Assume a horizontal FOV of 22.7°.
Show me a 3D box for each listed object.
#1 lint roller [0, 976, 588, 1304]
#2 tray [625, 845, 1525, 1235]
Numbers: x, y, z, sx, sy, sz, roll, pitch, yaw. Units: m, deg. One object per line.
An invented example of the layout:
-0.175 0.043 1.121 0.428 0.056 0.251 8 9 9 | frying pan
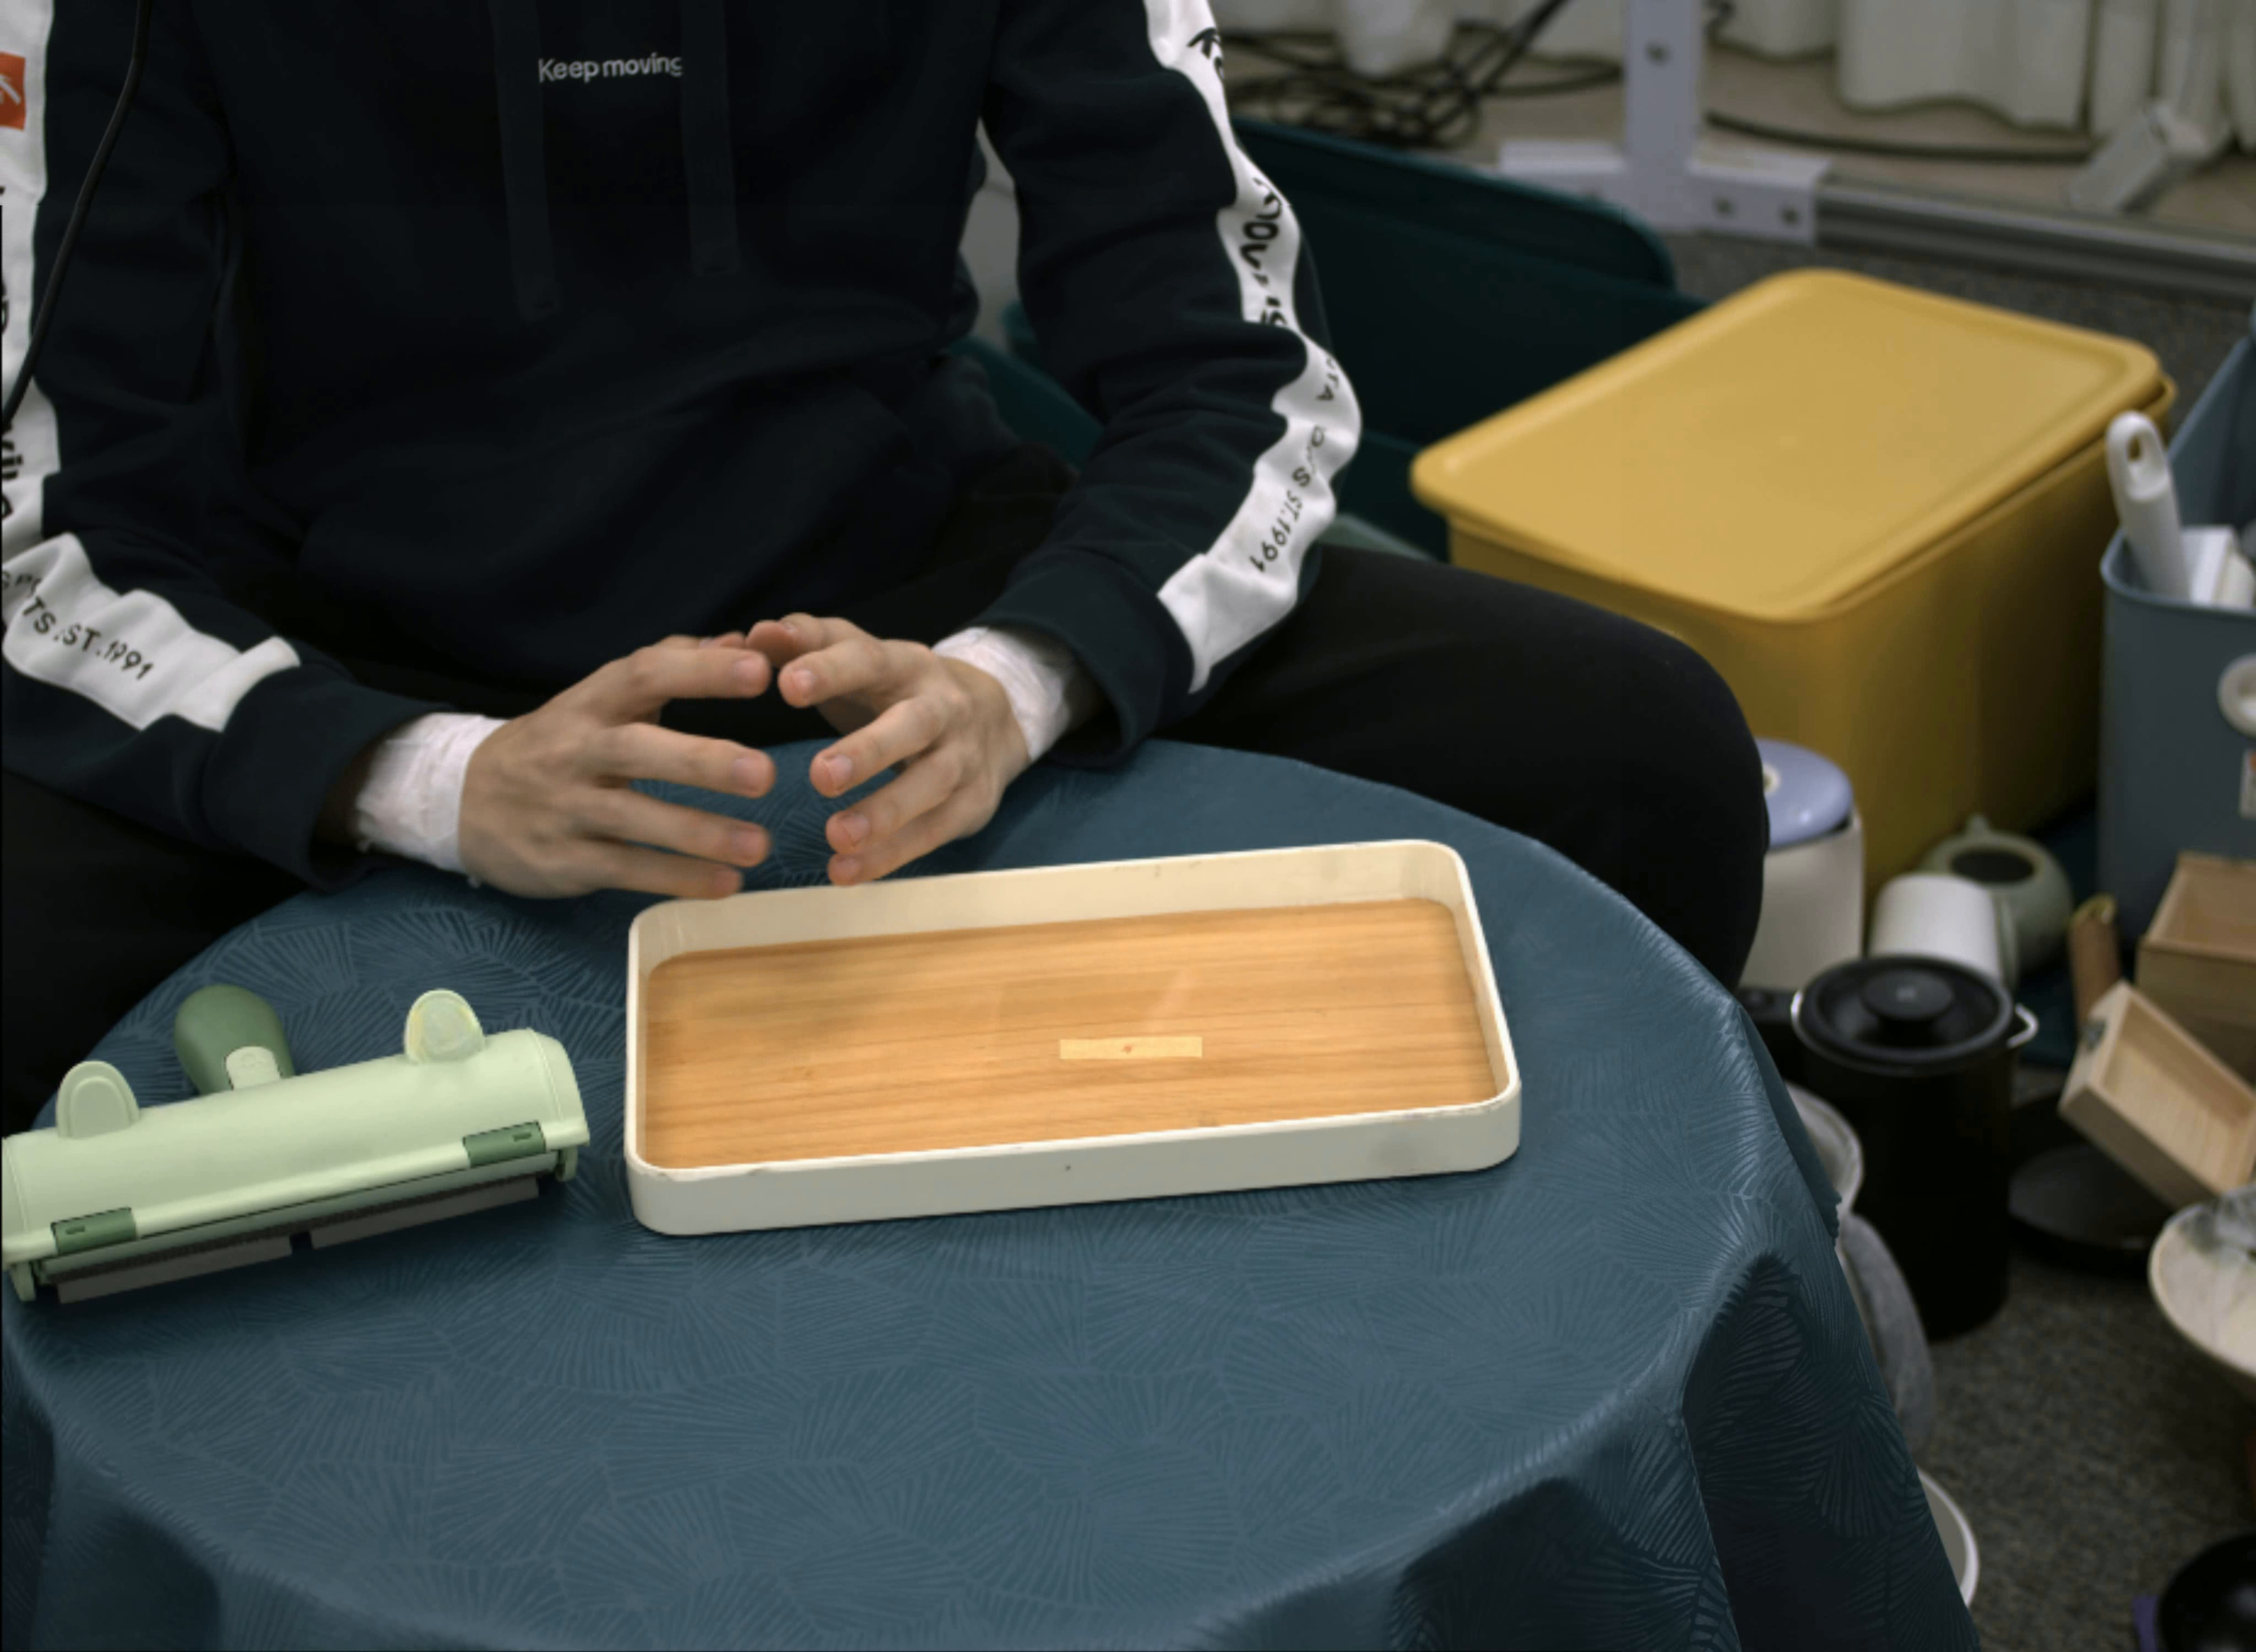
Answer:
-0.296 0.079 1.889 0.199 0.081 0.185 -11 33 -16 | lint roller
-0.022 0.071 1.930 0.299 0.027 0.194 -4 27 -3 | tray
